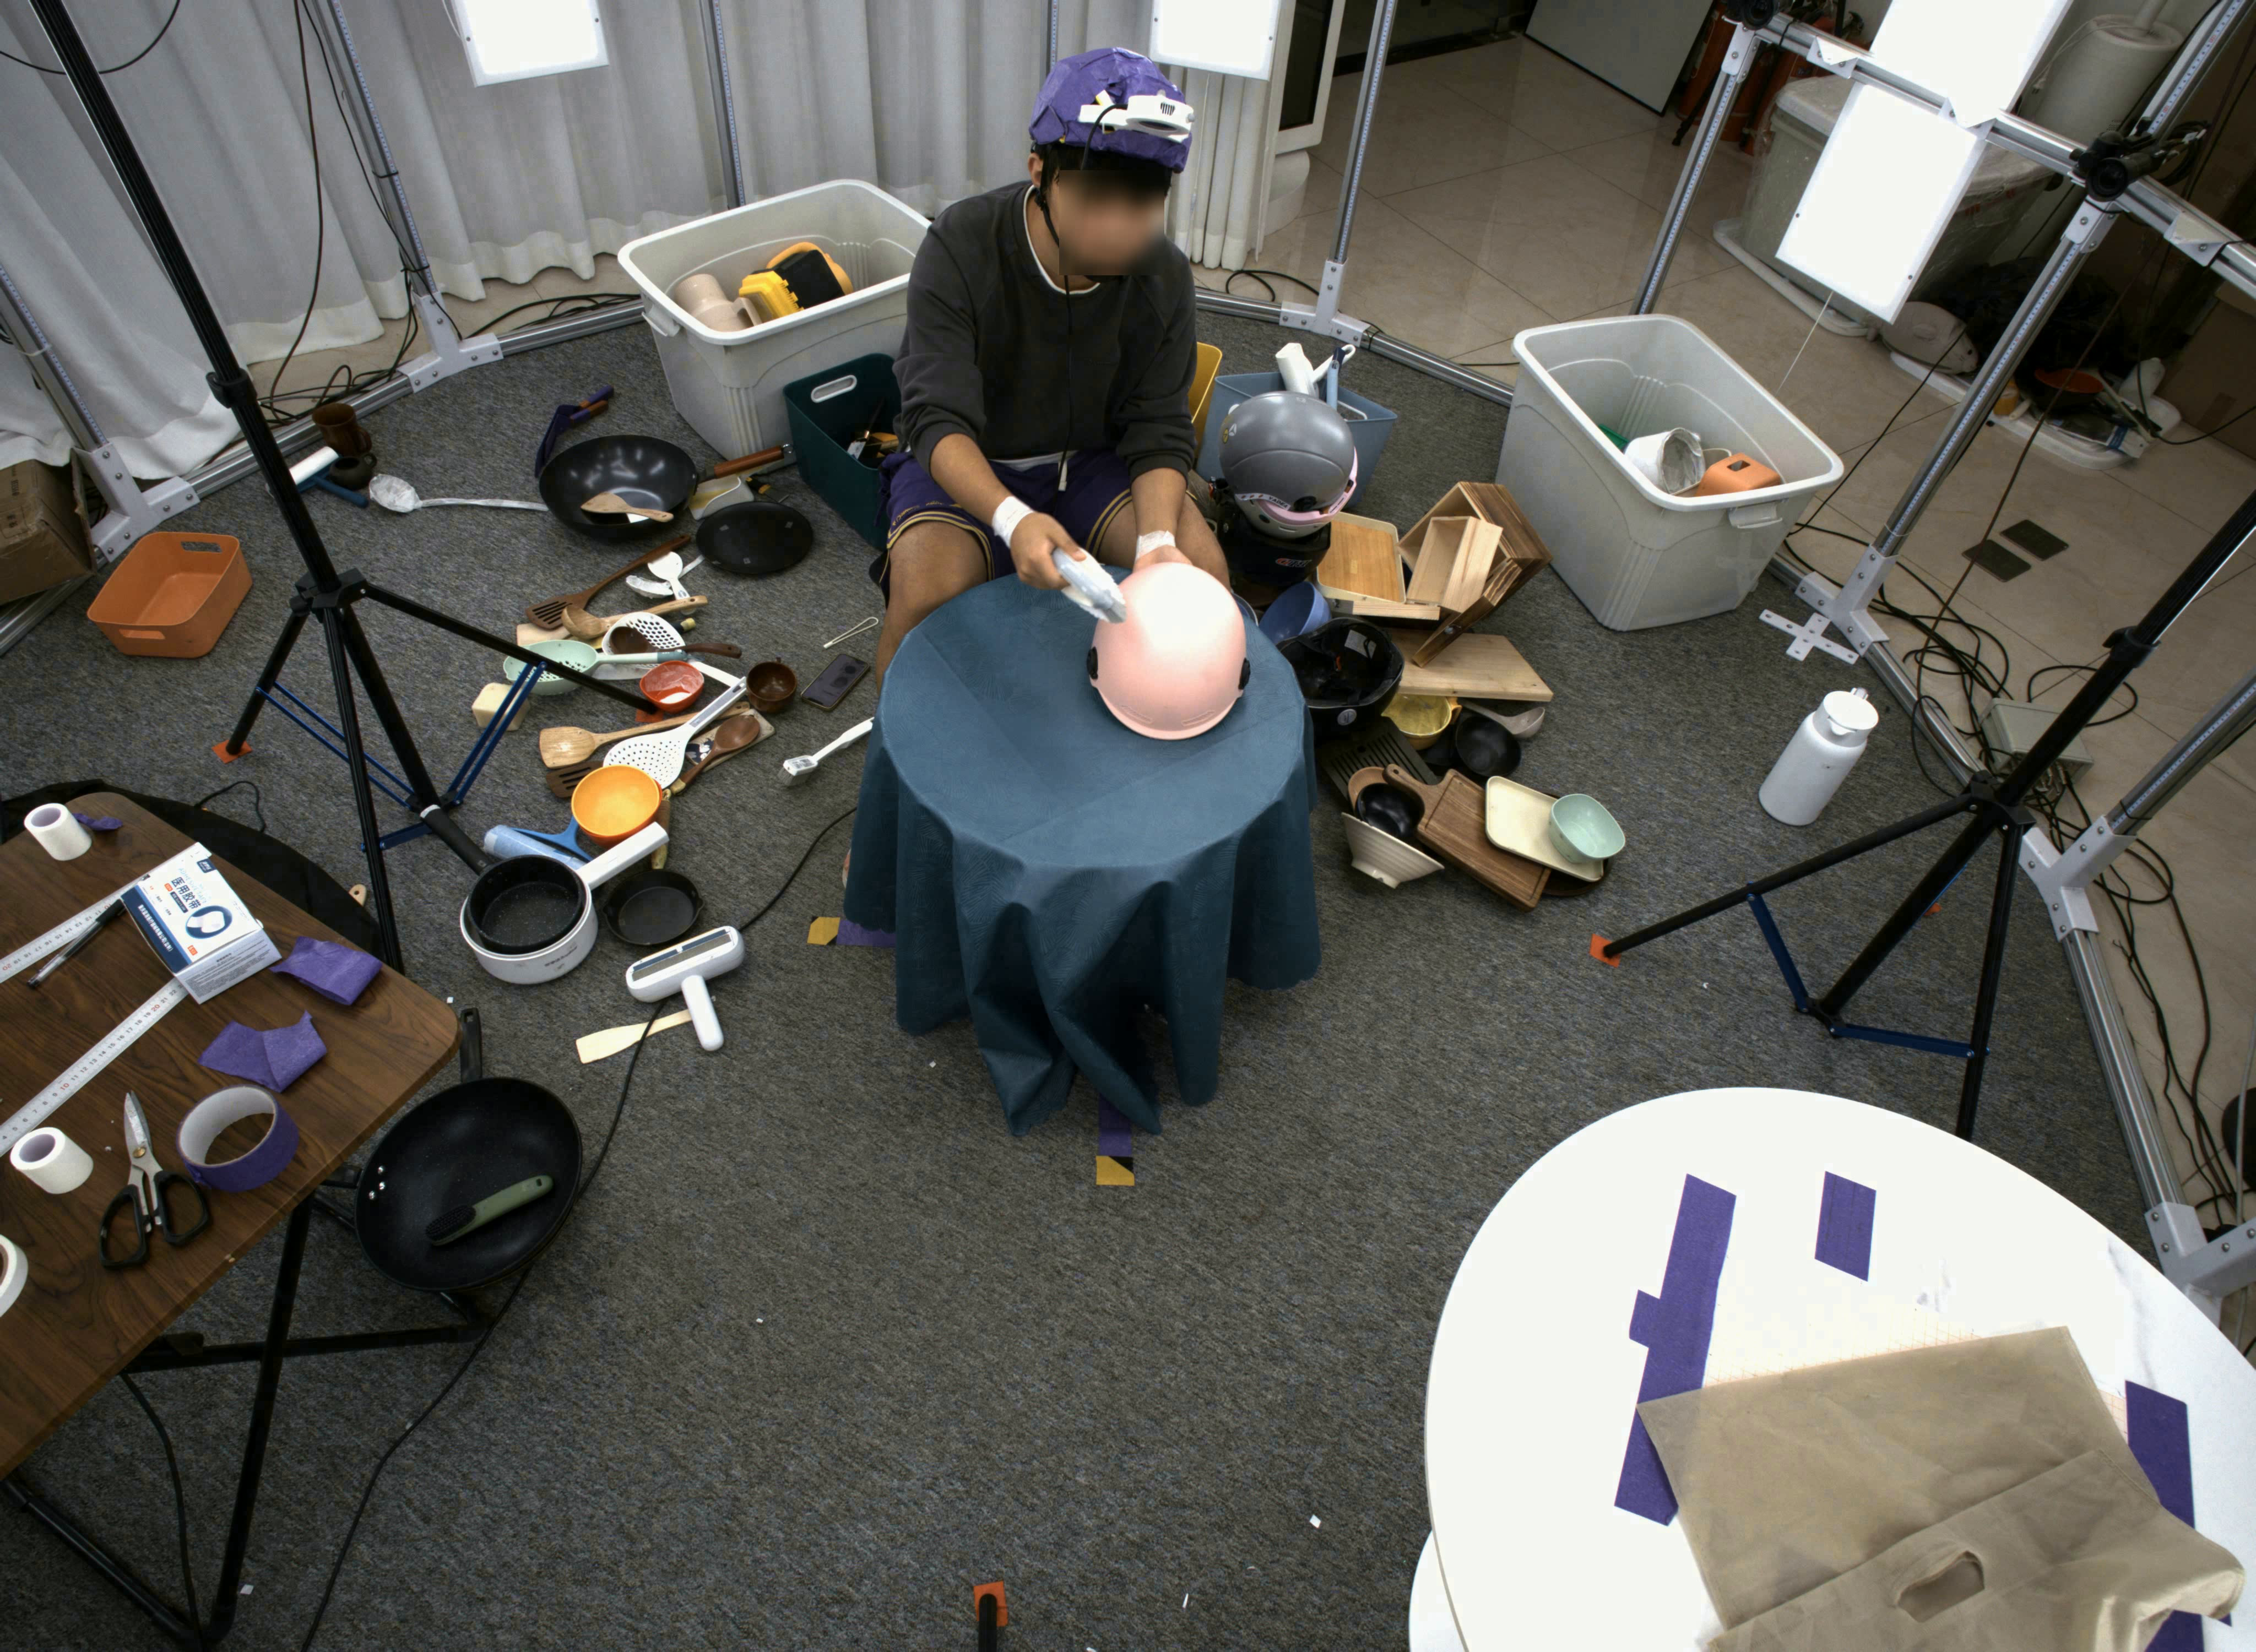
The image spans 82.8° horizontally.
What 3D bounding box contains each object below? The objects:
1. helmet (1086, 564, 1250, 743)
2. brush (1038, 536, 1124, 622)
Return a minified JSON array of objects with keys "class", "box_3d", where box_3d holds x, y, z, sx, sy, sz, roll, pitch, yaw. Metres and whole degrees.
[{"class":"helmet","box_3d":[0.060,-0.263,1.800,0.234,0.155,0.272,3,55,-2]},{"class":"brush","box_3d":[-0.065,-0.329,1.684,0.061,0.092,0.179,-47,41,11]}]
